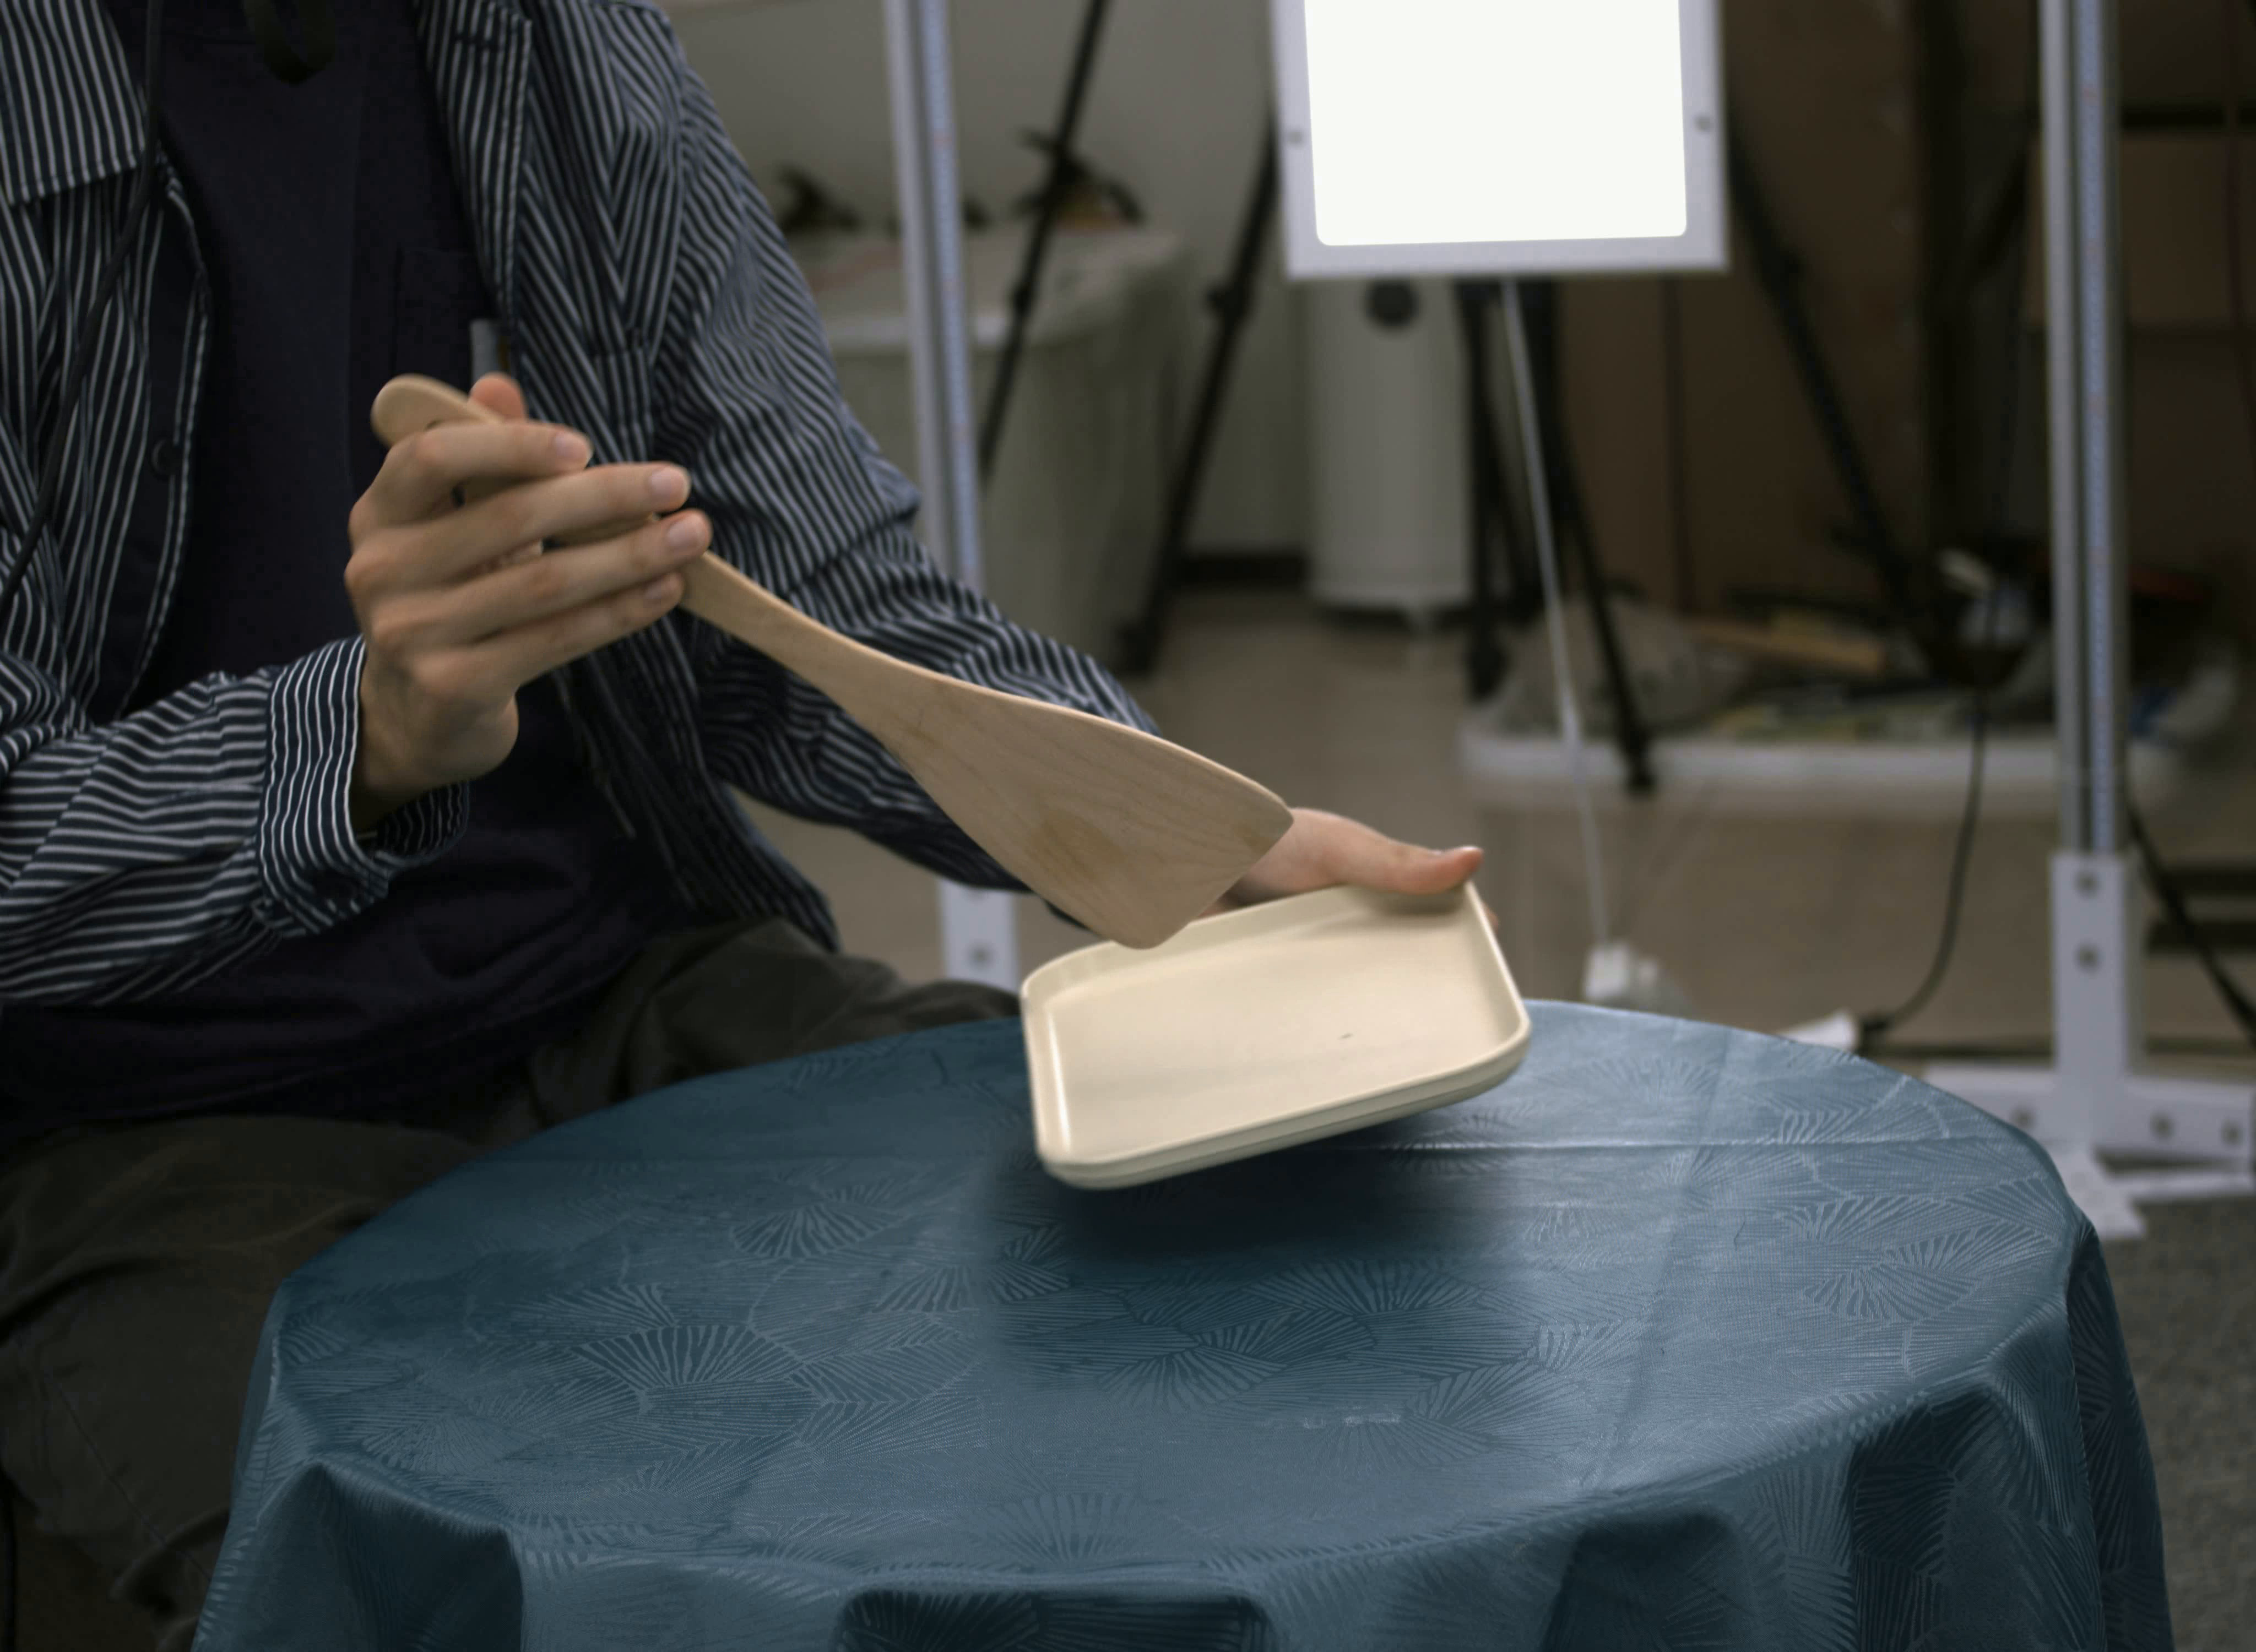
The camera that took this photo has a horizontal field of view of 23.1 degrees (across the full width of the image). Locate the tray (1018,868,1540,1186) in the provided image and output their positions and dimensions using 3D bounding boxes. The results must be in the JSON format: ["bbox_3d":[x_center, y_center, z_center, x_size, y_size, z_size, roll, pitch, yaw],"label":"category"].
[{"bbox_3d":[0.050,0.069,1.904,0.171,0.017,0.239,-14,15,1],"label":"tray"}]

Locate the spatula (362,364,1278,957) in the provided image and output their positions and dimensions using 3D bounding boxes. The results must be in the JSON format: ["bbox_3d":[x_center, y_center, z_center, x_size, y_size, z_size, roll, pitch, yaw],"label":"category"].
[{"bbox_3d":[-0.106,-0.059,1.794,0.326,0.081,0.016,32,30,-5],"label":"spatula"}]
